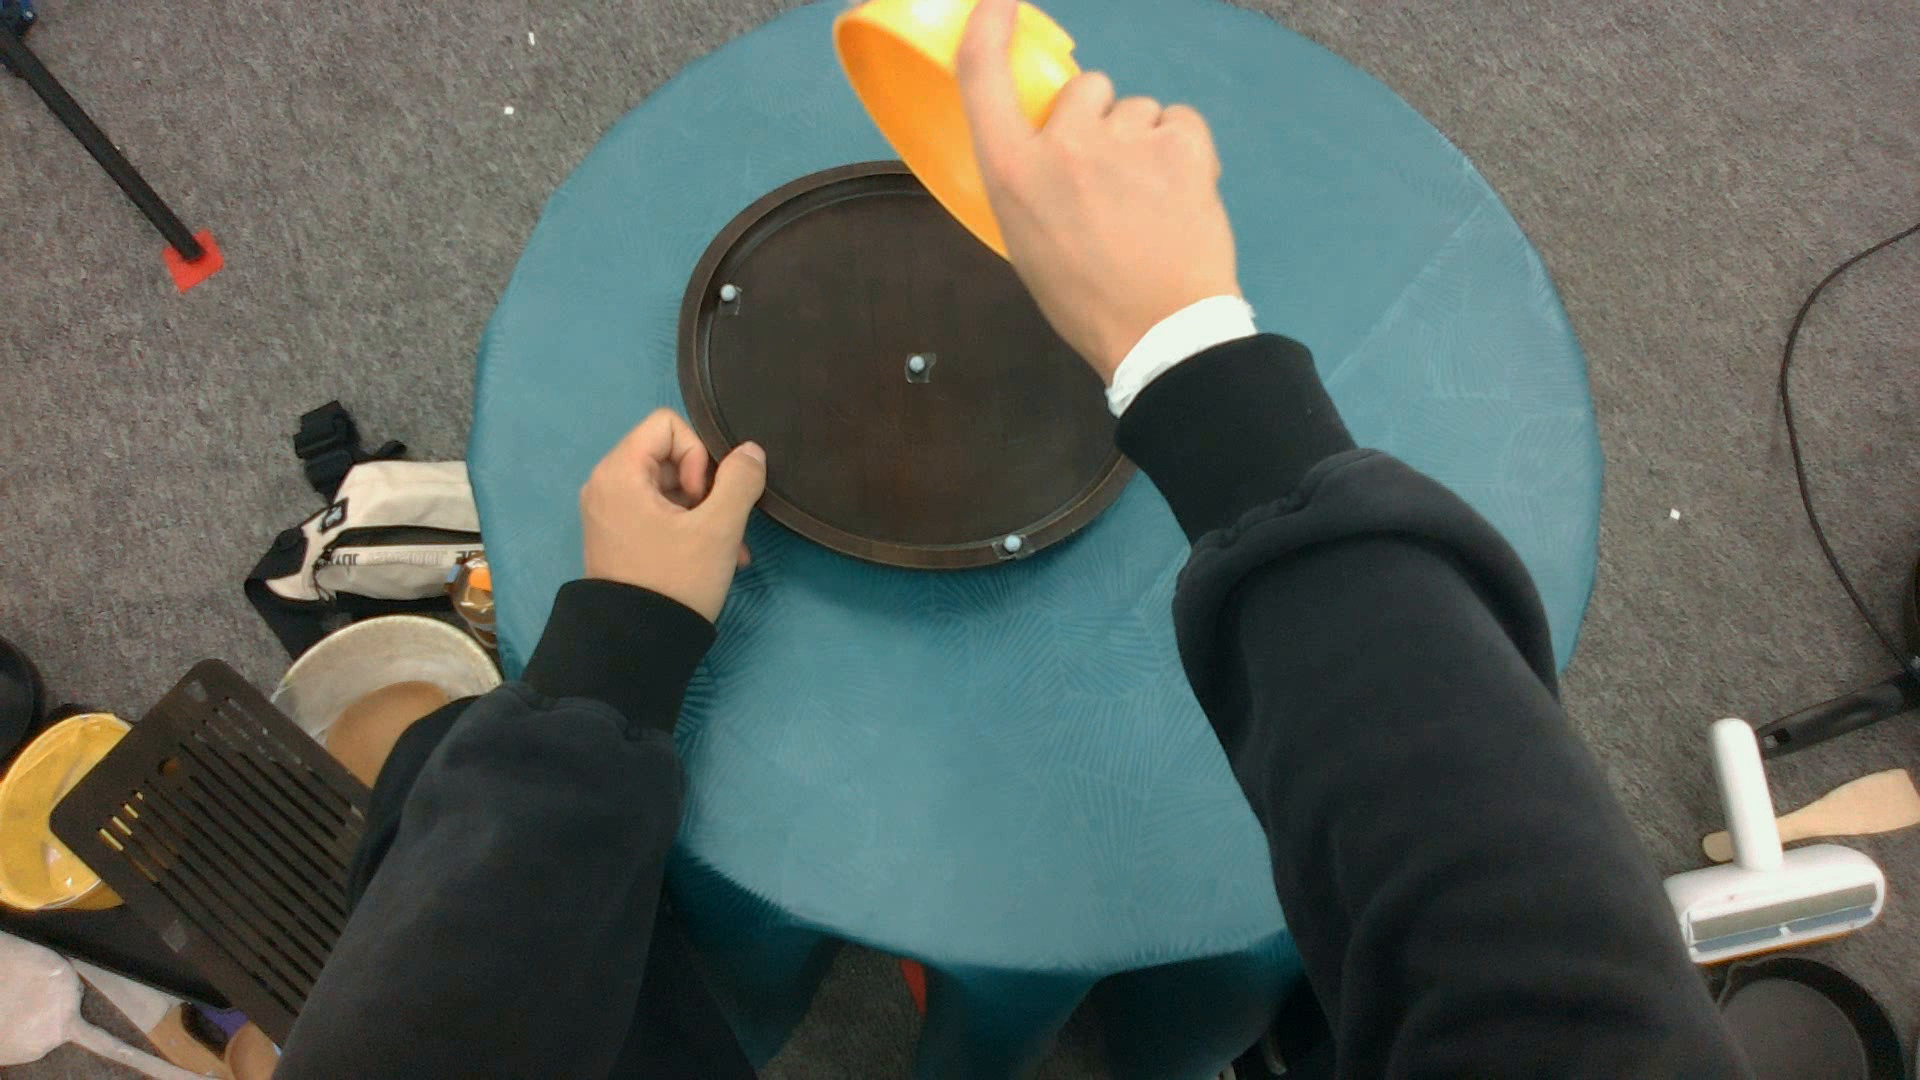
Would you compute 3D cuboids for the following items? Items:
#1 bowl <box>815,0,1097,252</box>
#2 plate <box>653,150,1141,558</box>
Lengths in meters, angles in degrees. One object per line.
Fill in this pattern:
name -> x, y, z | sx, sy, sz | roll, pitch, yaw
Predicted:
bowl -> 0.011, -0.195, 0.589 | 0.145, 0.145, 0.060 | 41, 83, 14
plate -> -0.030, -0.102, 0.716 | 0.255, 0.029, 0.256 | 5, 63, -10
